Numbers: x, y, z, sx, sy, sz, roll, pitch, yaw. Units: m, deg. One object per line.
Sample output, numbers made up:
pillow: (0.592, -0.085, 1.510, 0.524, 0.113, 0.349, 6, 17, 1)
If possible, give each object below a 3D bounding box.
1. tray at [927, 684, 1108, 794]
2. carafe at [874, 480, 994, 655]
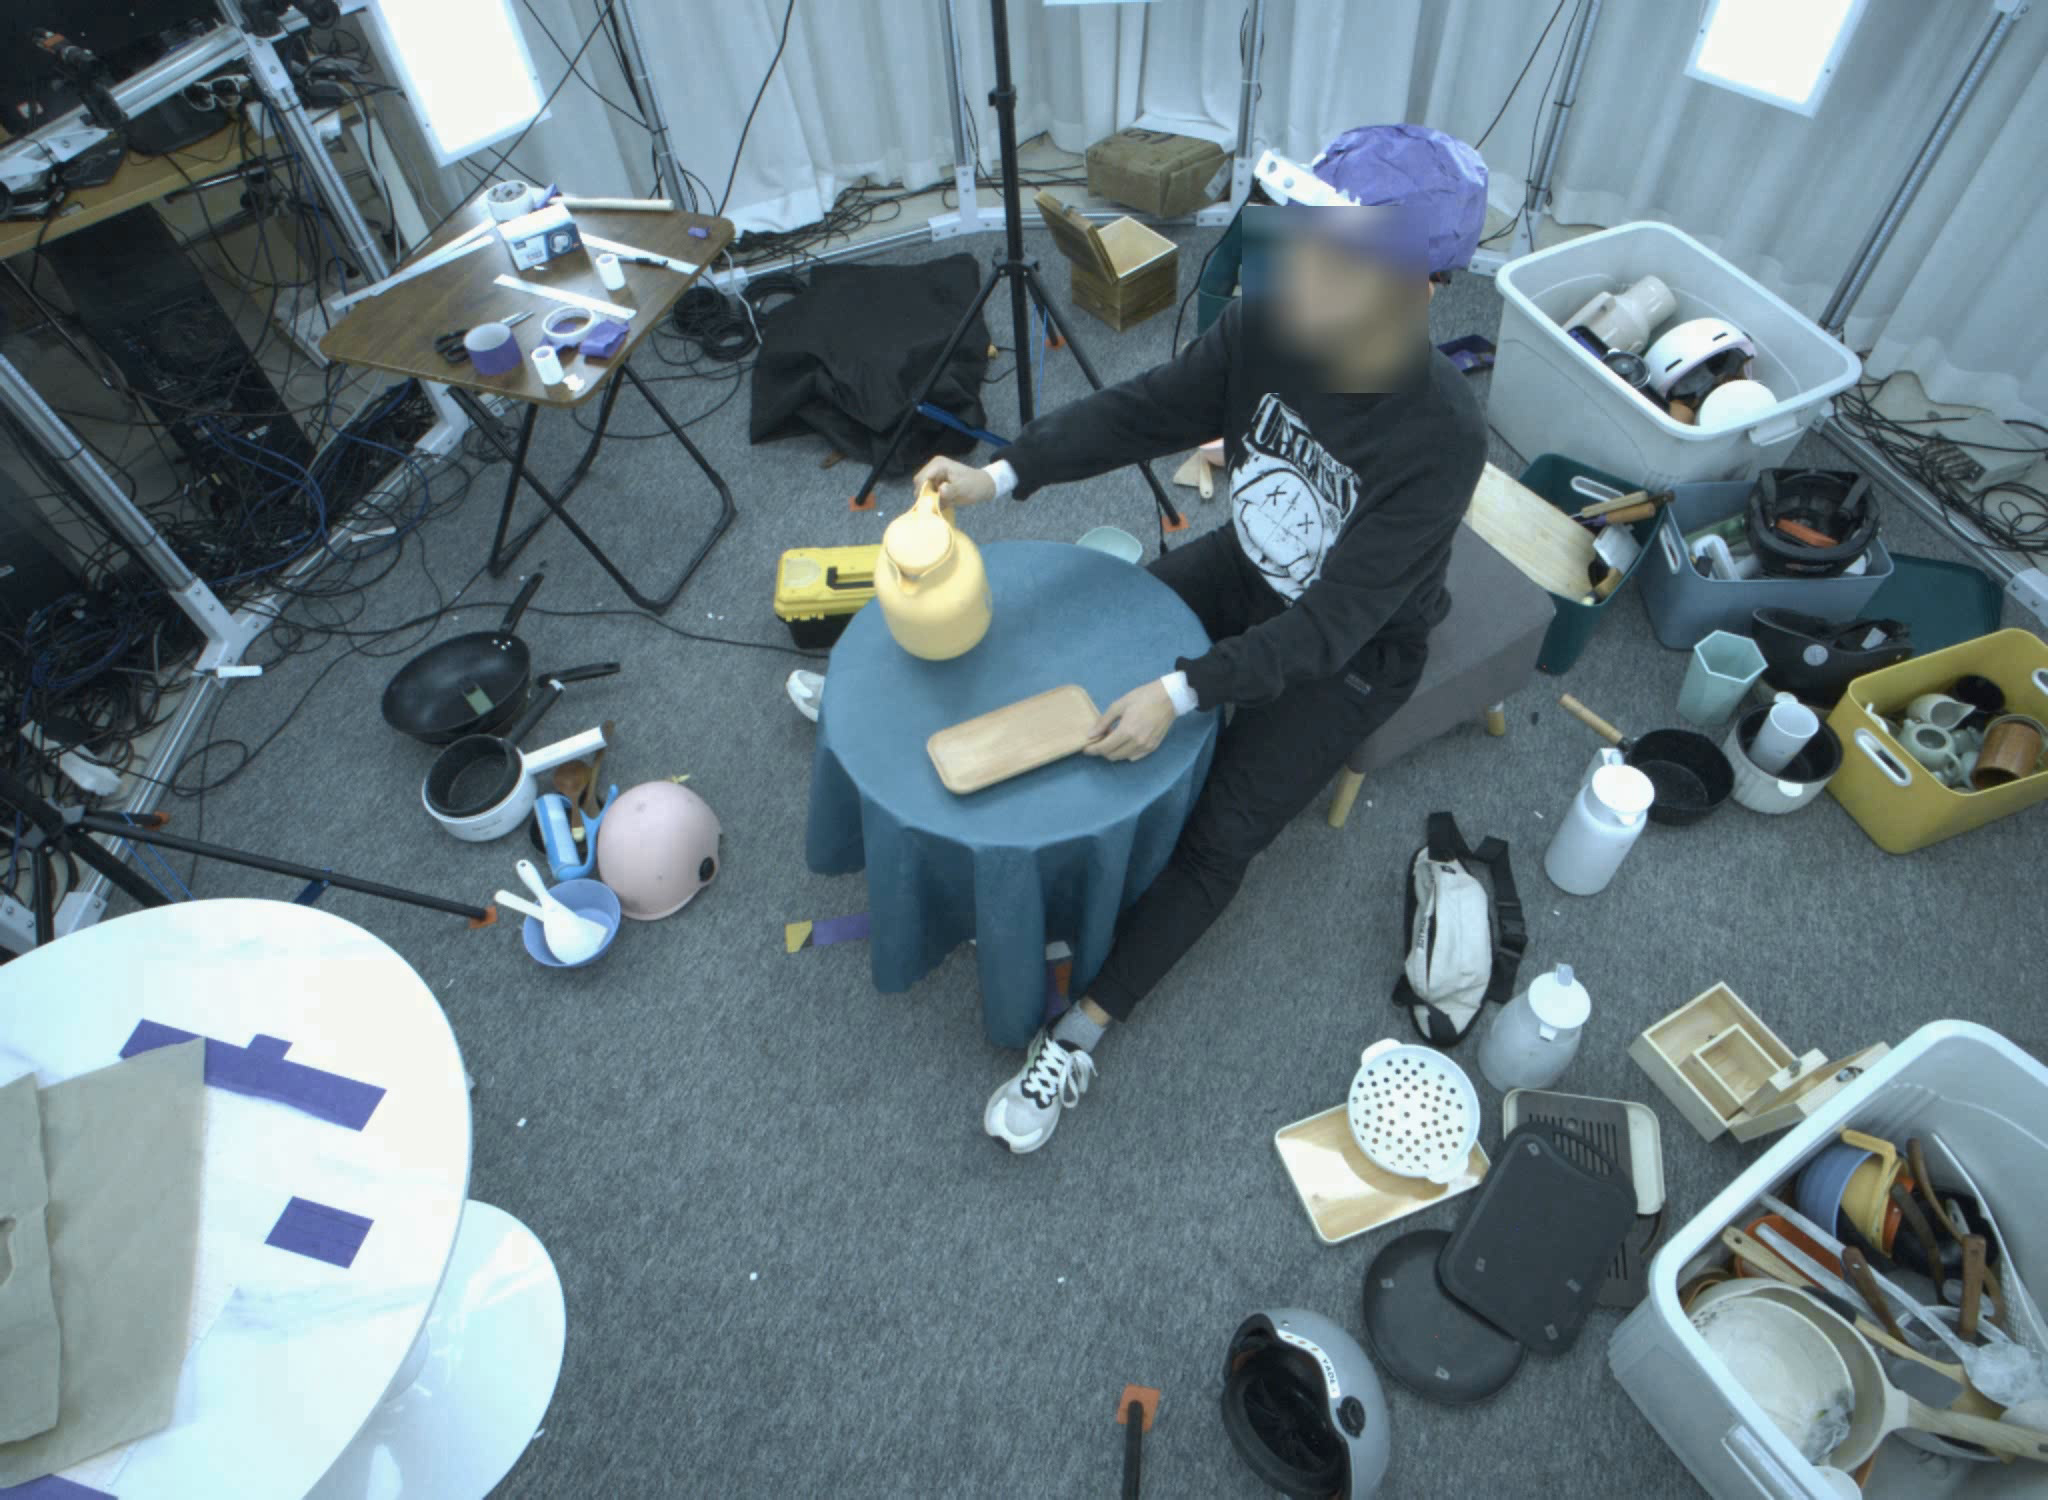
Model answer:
tray: (-0.009, -0.017, 1.774, 0.252, 0.023, 0.128, -20, 51, -11)
carafe: (-0.128, -0.267, 1.767, 0.163, 0.262, 0.202, 11, 75, 6)
